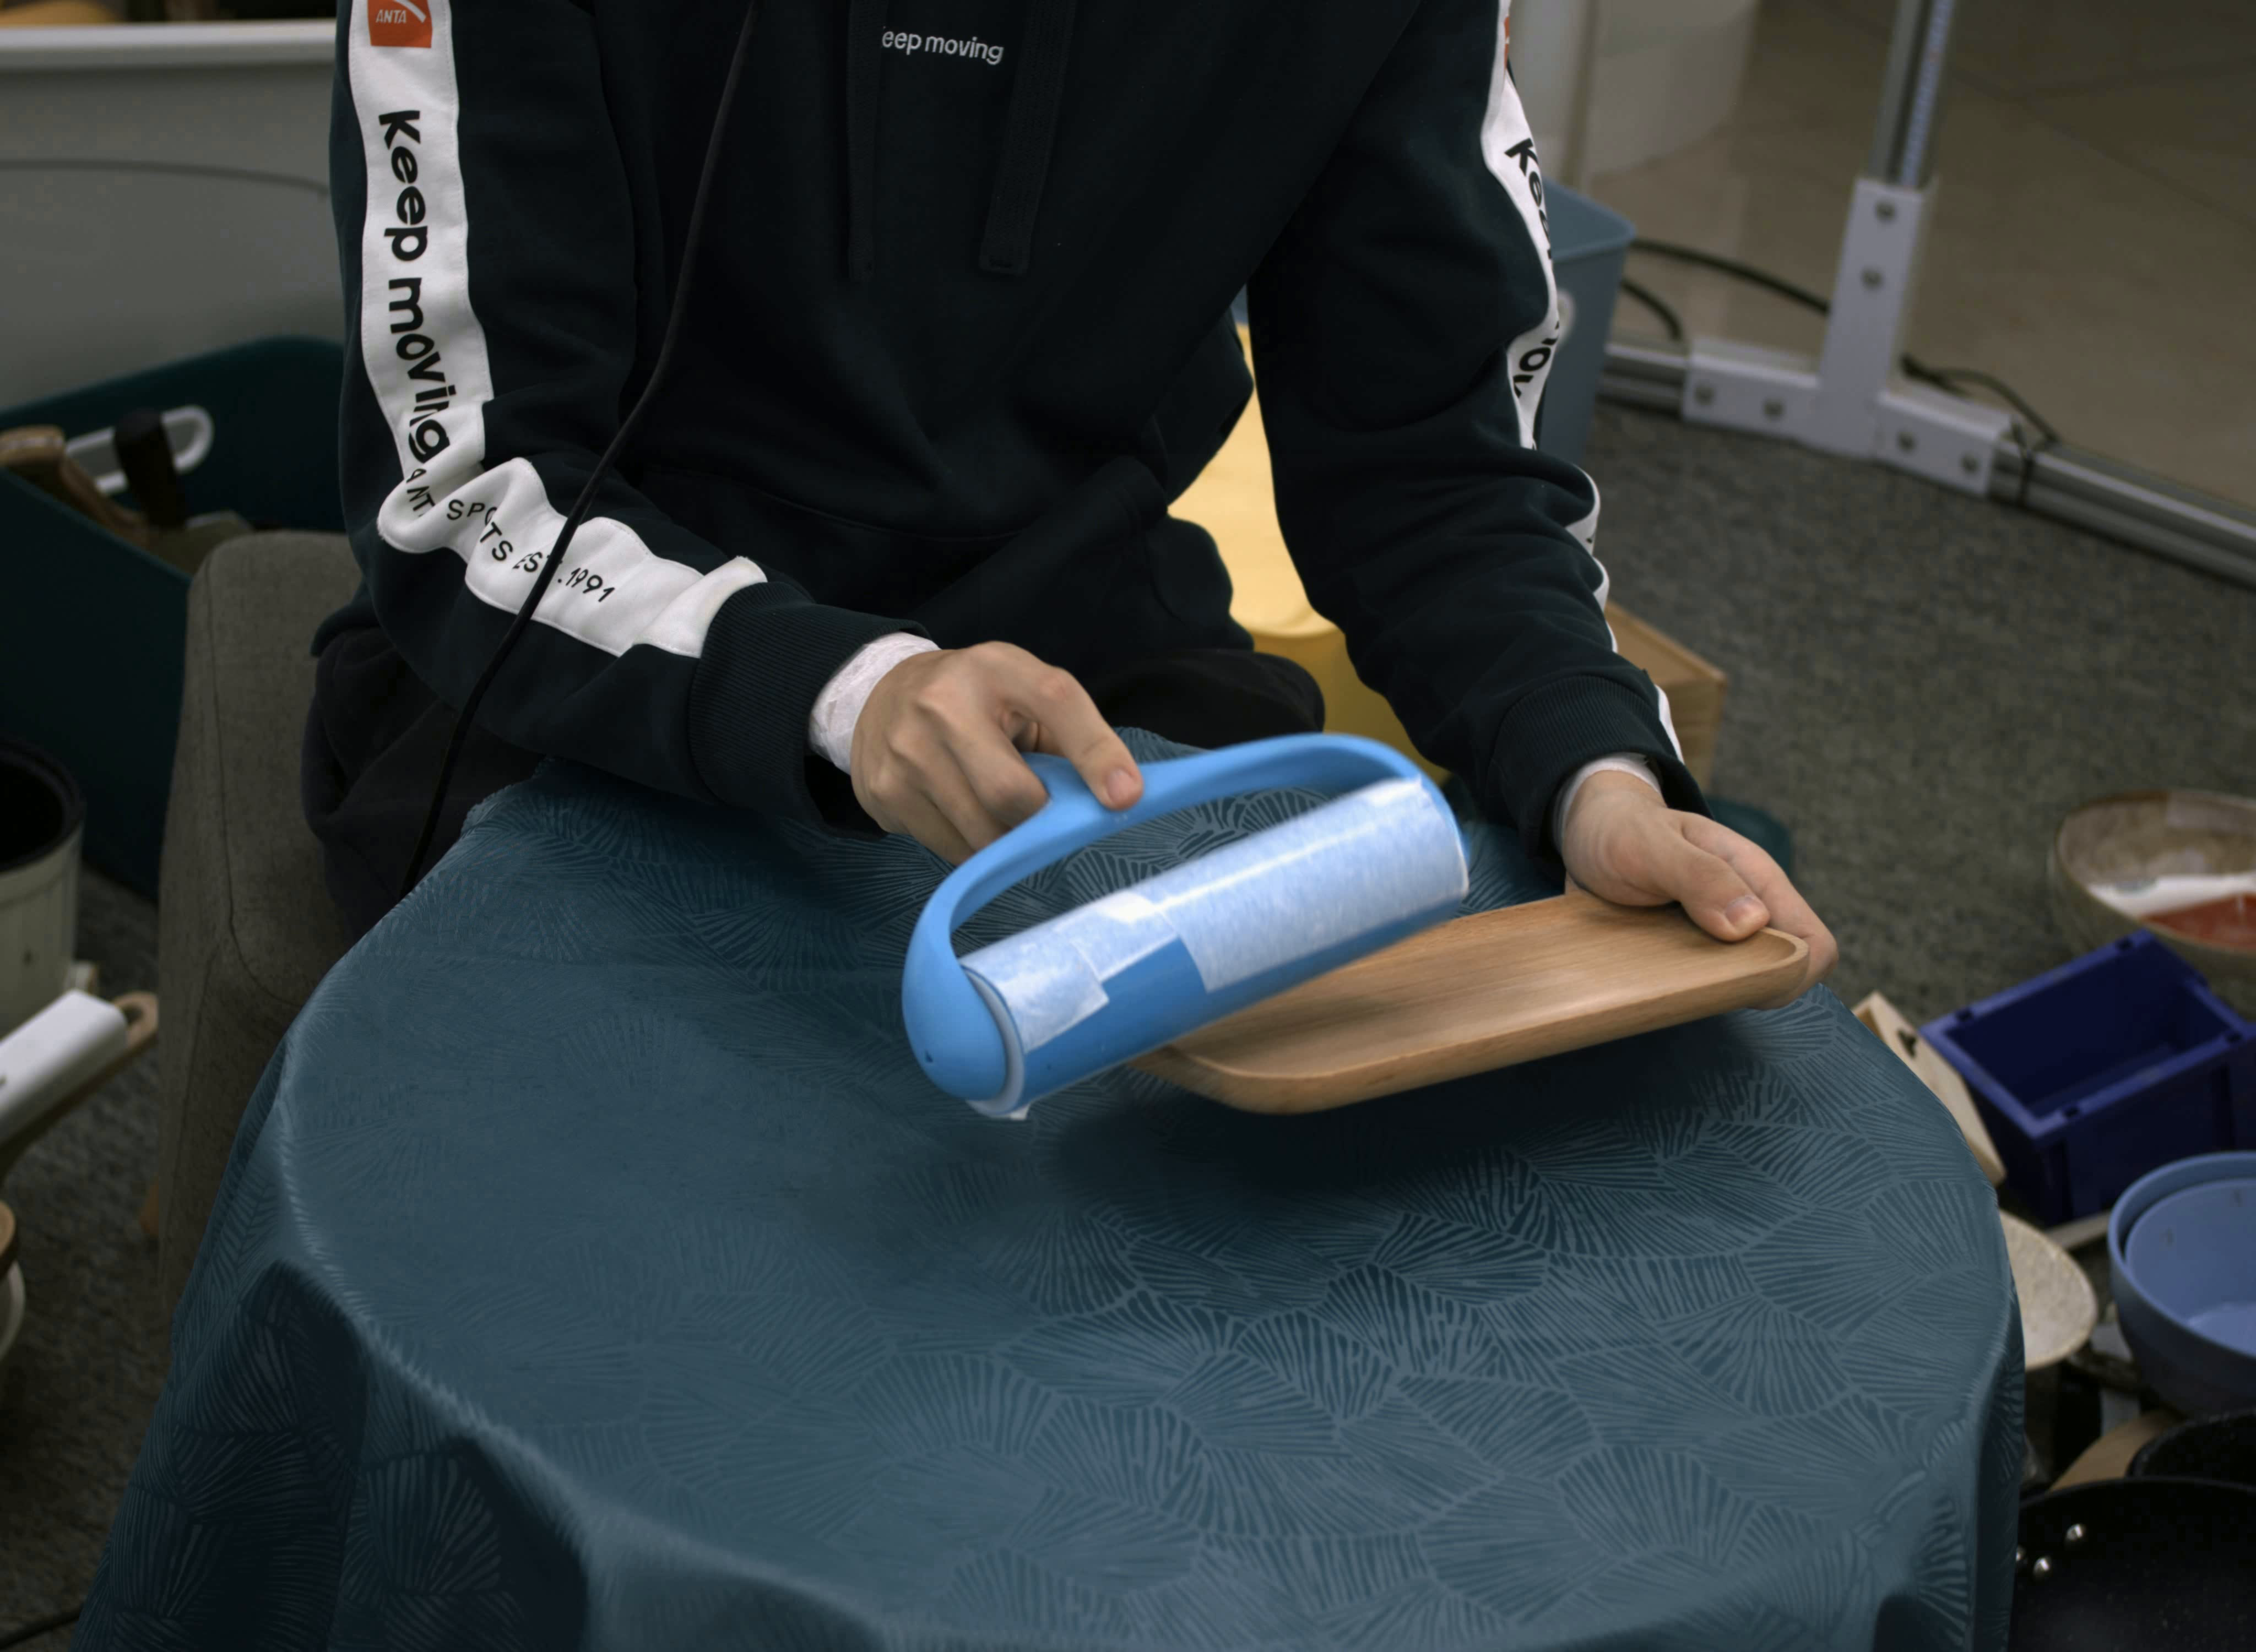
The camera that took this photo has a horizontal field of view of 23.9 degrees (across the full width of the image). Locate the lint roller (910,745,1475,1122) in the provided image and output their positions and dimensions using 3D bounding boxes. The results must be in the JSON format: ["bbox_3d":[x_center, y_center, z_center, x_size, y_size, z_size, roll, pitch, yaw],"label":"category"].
[{"bbox_3d":[-0.013,0.014,1.820,0.228,0.067,0.182,-24,42,-34],"label":"lint roller"}]

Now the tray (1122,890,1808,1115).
[{"bbox_3d":[0.111,0.060,1.851,0.249,0.023,0.131,-12,14,-31],"label":"tray"}]
